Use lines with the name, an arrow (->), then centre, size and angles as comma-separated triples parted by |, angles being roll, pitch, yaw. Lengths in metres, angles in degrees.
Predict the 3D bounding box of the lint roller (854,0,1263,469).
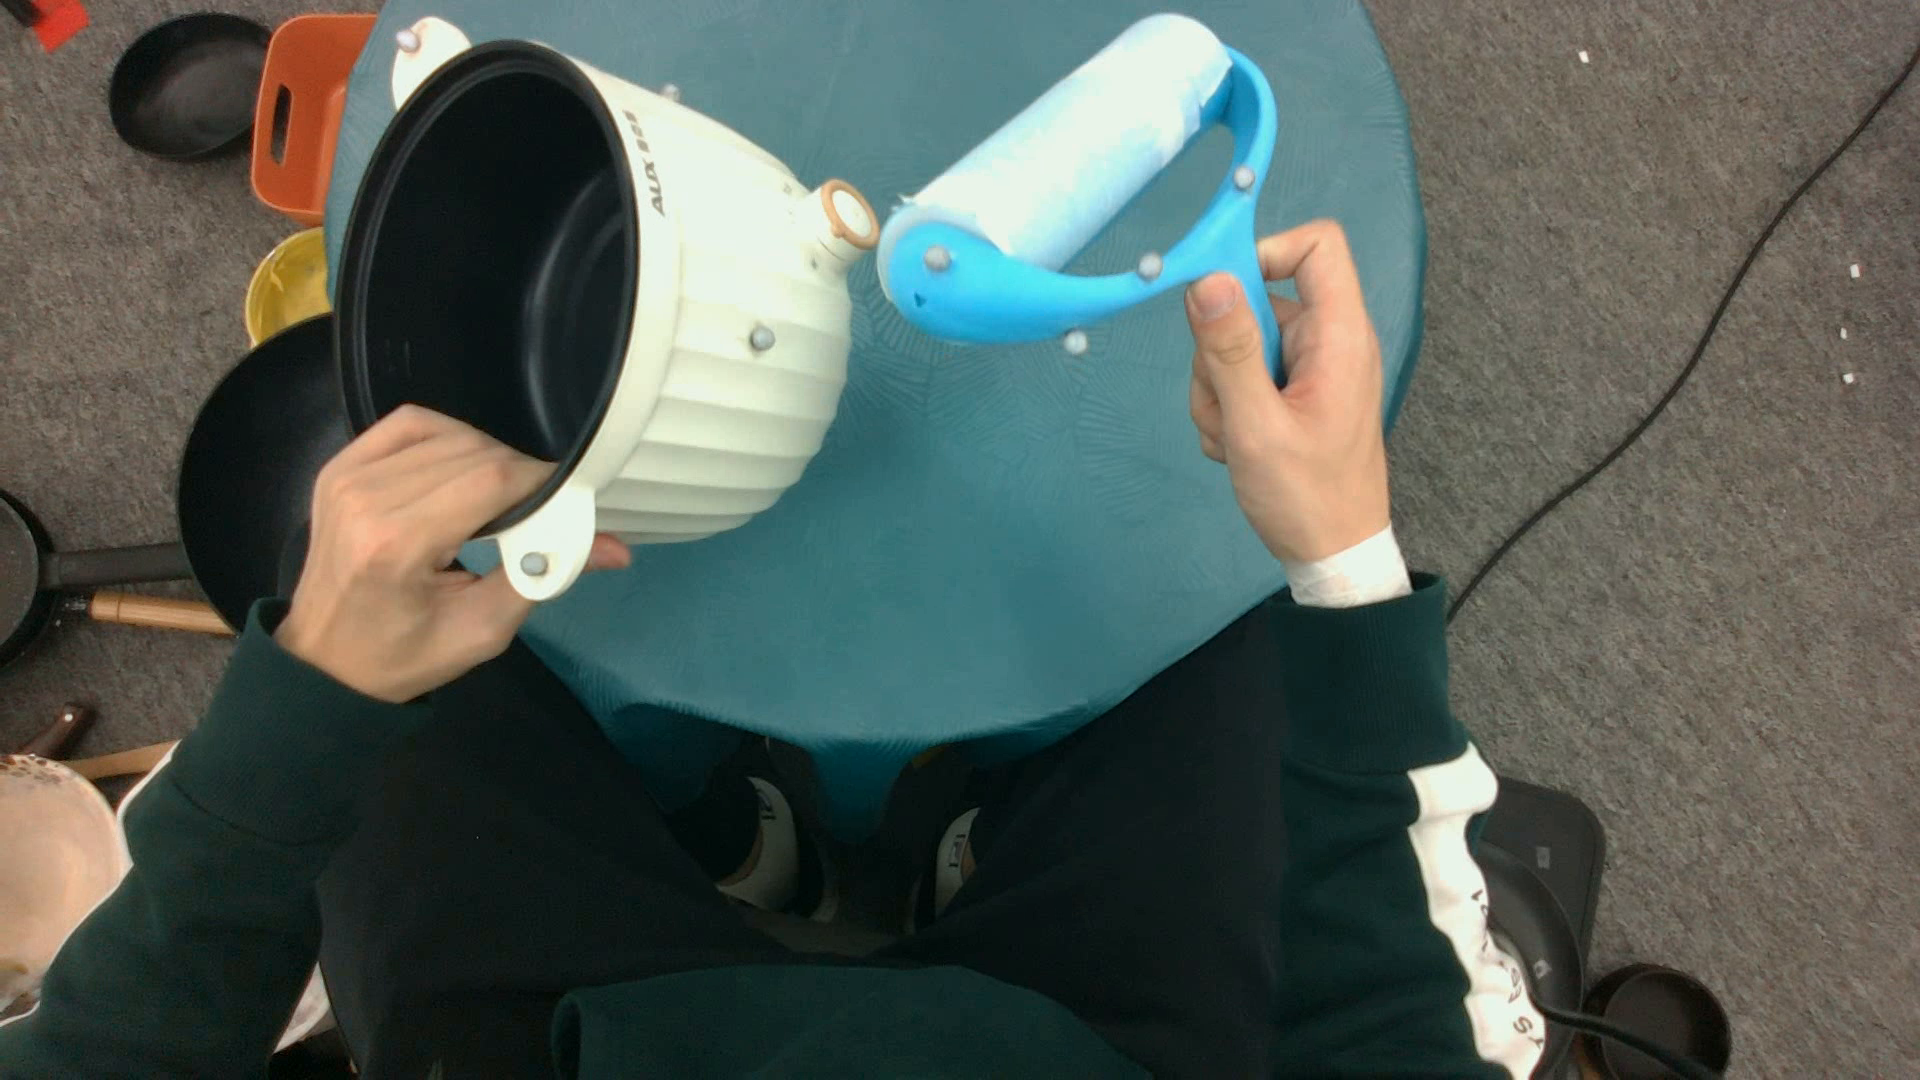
lint roller -> 0.071, -0.108, 0.522 | 0.180, 0.067, 0.230 | 44, 43, -12

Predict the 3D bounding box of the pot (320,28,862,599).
pot -> -0.141, -0.091, 0.551 | 0.189, 0.143, 0.241 | -33, 71, 35
